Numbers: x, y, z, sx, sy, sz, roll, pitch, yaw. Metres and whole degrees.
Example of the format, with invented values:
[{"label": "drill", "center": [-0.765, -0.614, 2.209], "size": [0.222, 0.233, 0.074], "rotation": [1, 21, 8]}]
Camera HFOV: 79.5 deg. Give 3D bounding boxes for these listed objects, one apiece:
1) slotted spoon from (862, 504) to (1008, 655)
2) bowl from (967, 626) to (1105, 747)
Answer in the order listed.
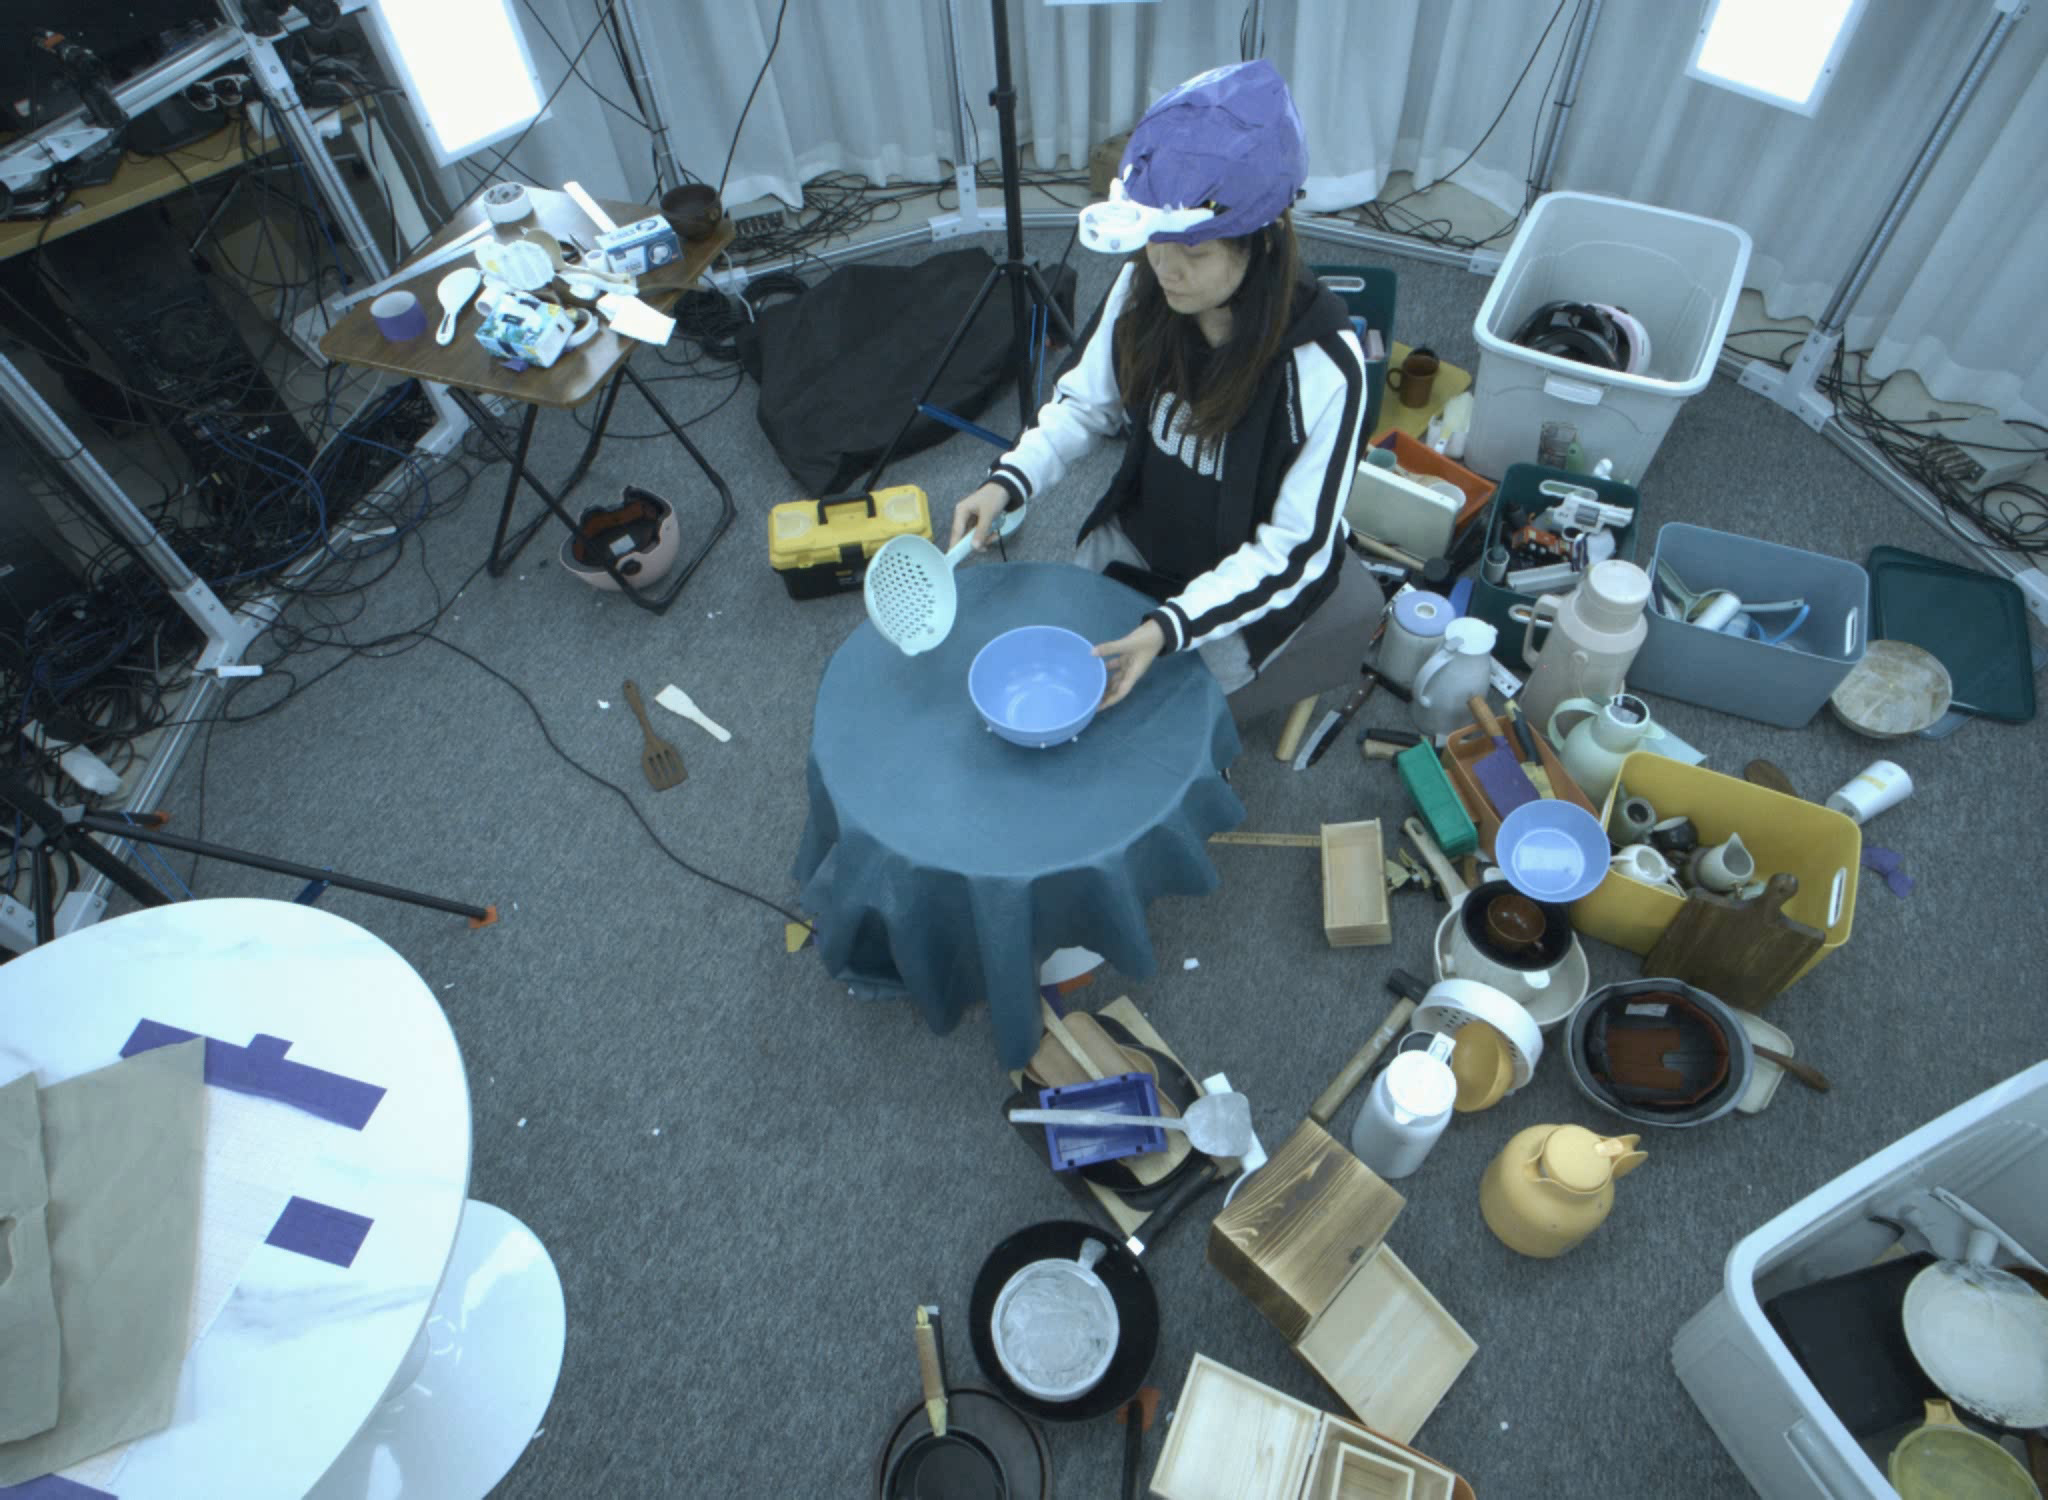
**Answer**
[{"label": "slotted spoon", "center": [-0.118, -0.284, 1.830], "size": [0.074, 0.172, 0.361], "rotation": [3, 38, 47]}, {"label": "bowl", "center": [0.020, -0.077, 1.783], "size": [0.196, 0.096, 0.194], "rotation": [-1, 54, 2]}]
